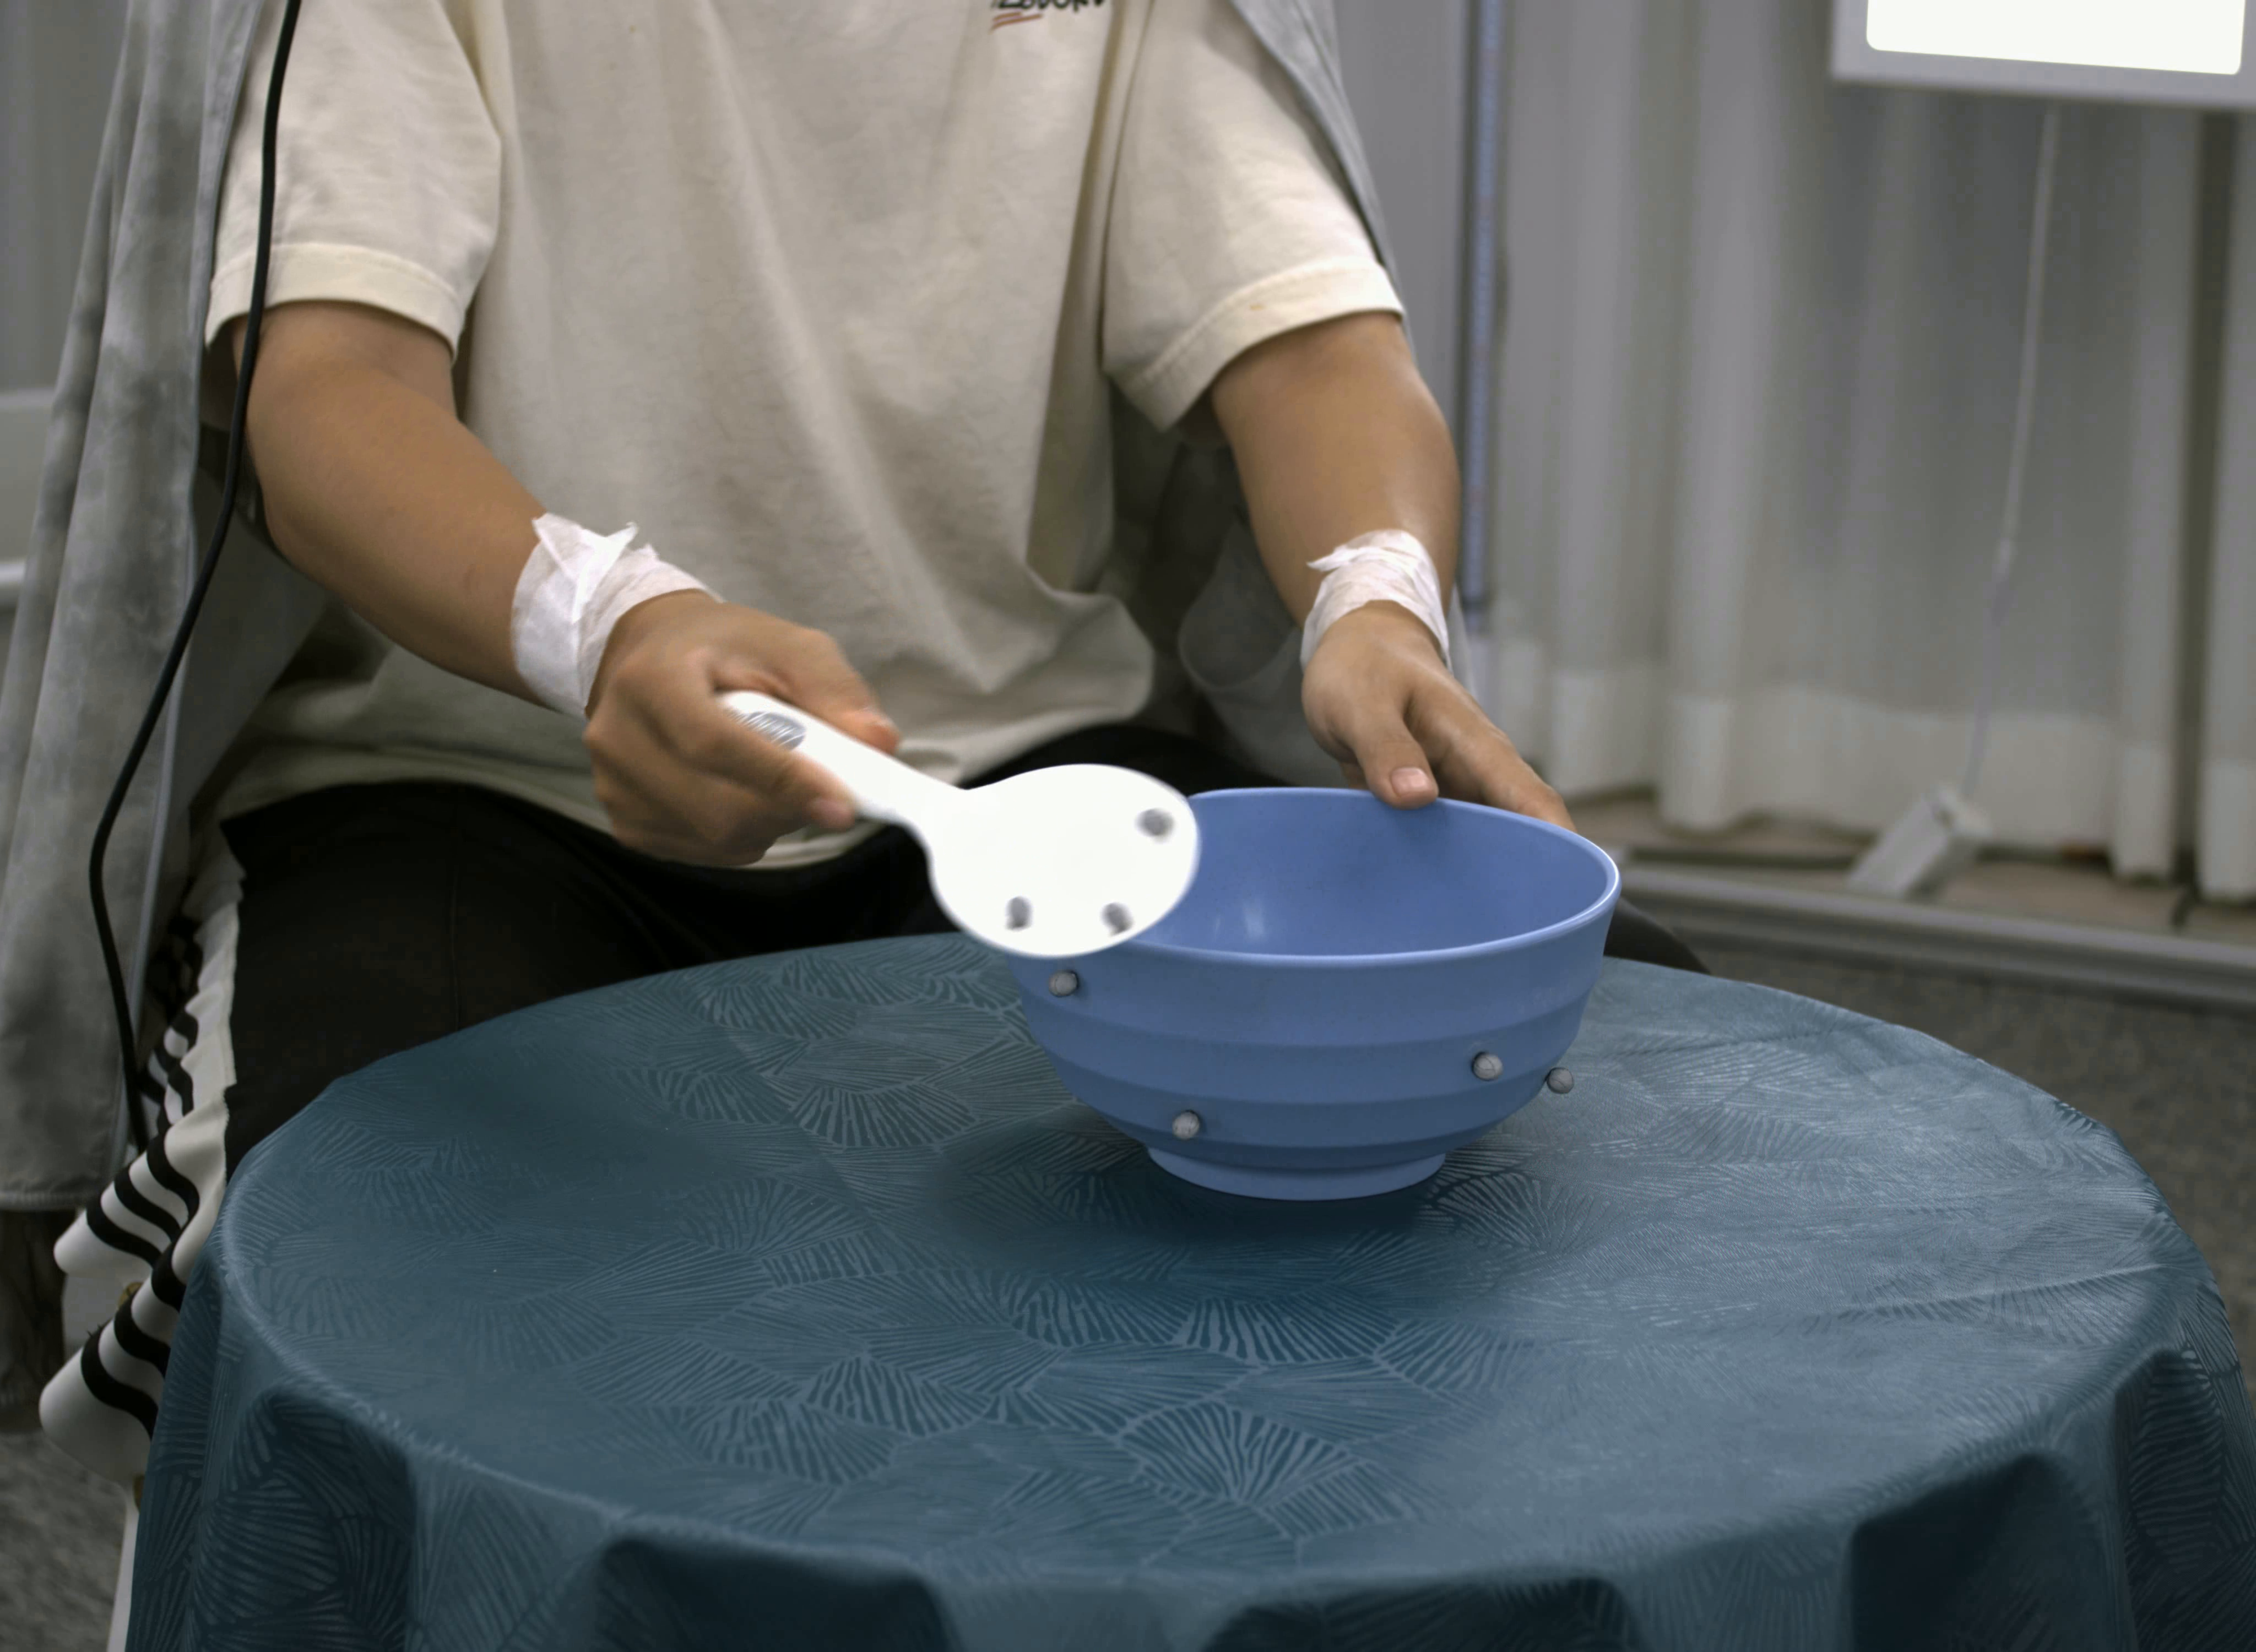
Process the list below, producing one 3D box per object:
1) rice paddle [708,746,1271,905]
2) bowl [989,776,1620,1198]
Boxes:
[{"bbox_3d":[-0.043,-0.003,1.578,0.203,0.030,0.069,6,40,39],"label":"rice paddle"},{"bbox_3d":[0.055,0.056,1.648,0.196,0.096,0.195,0,18,0],"label":"bowl"}]
